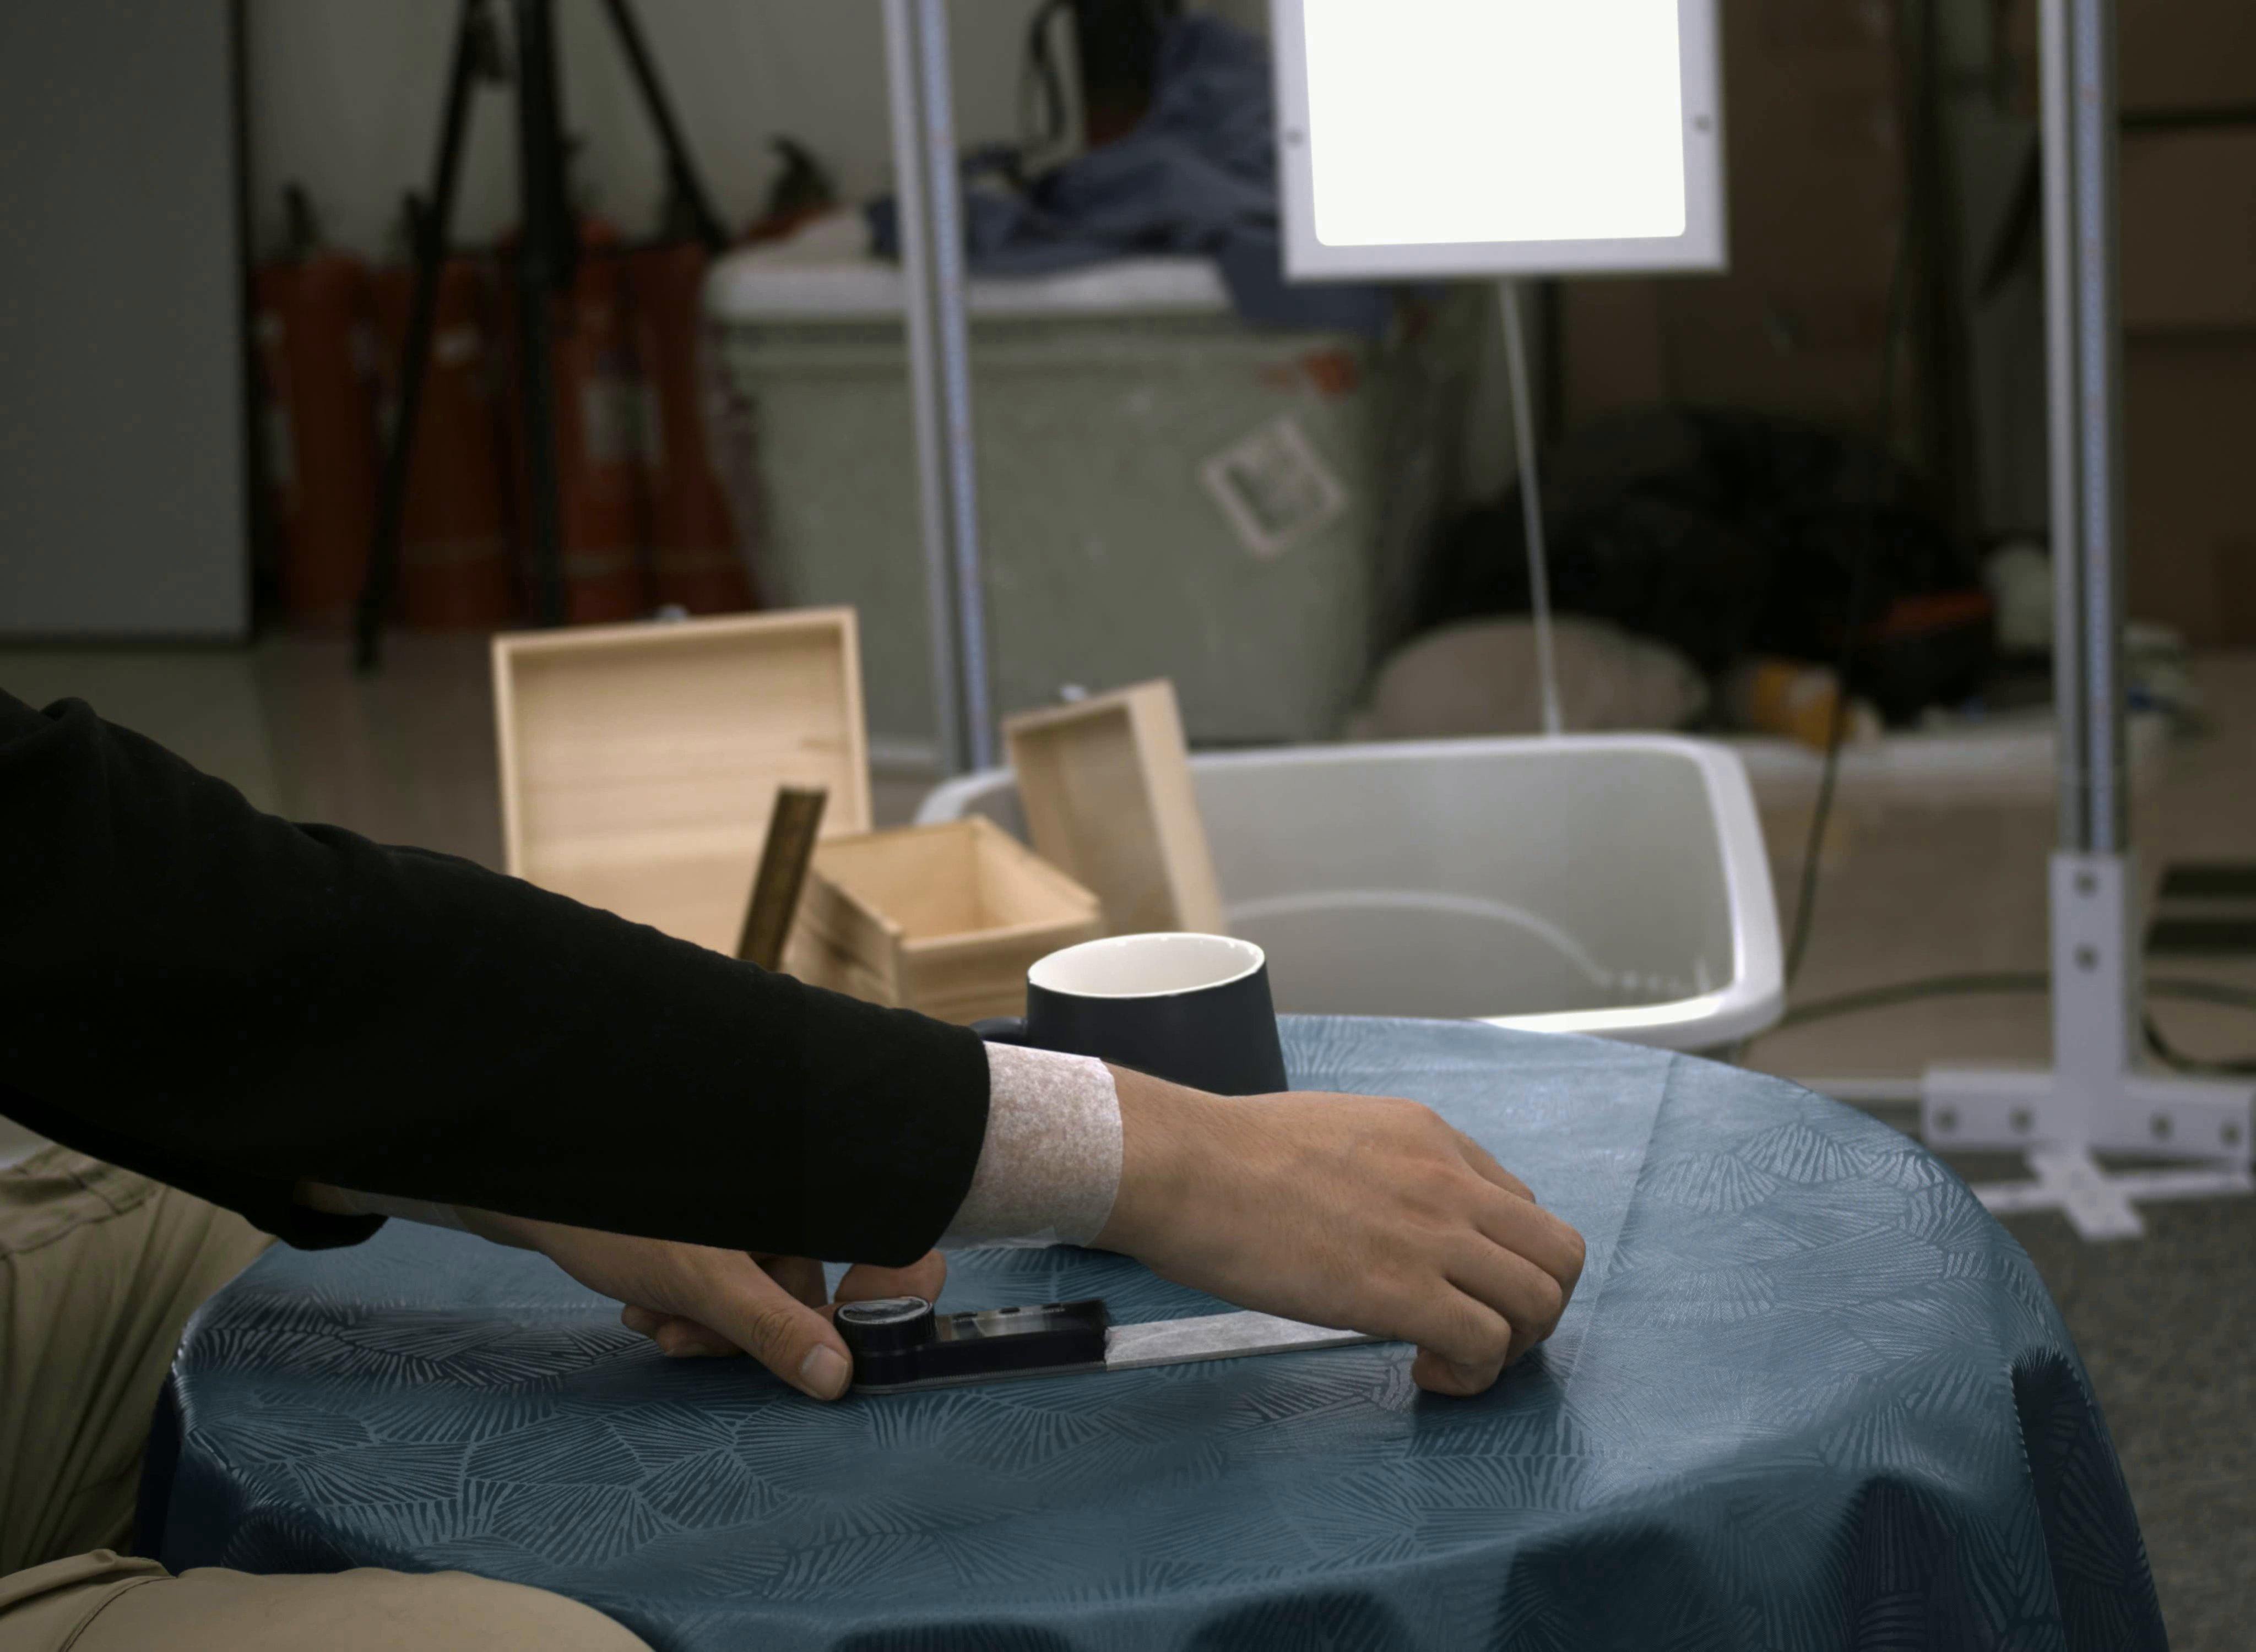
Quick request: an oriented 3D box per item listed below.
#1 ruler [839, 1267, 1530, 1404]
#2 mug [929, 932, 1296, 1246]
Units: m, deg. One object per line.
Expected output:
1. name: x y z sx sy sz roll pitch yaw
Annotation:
1. ruler: 0.017 0.153 1.735 0.217 0.024 0.038 -7 23 -2
2. mug: -0.006 0.089 1.856 0.123 0.090 0.093 -4 13 0
